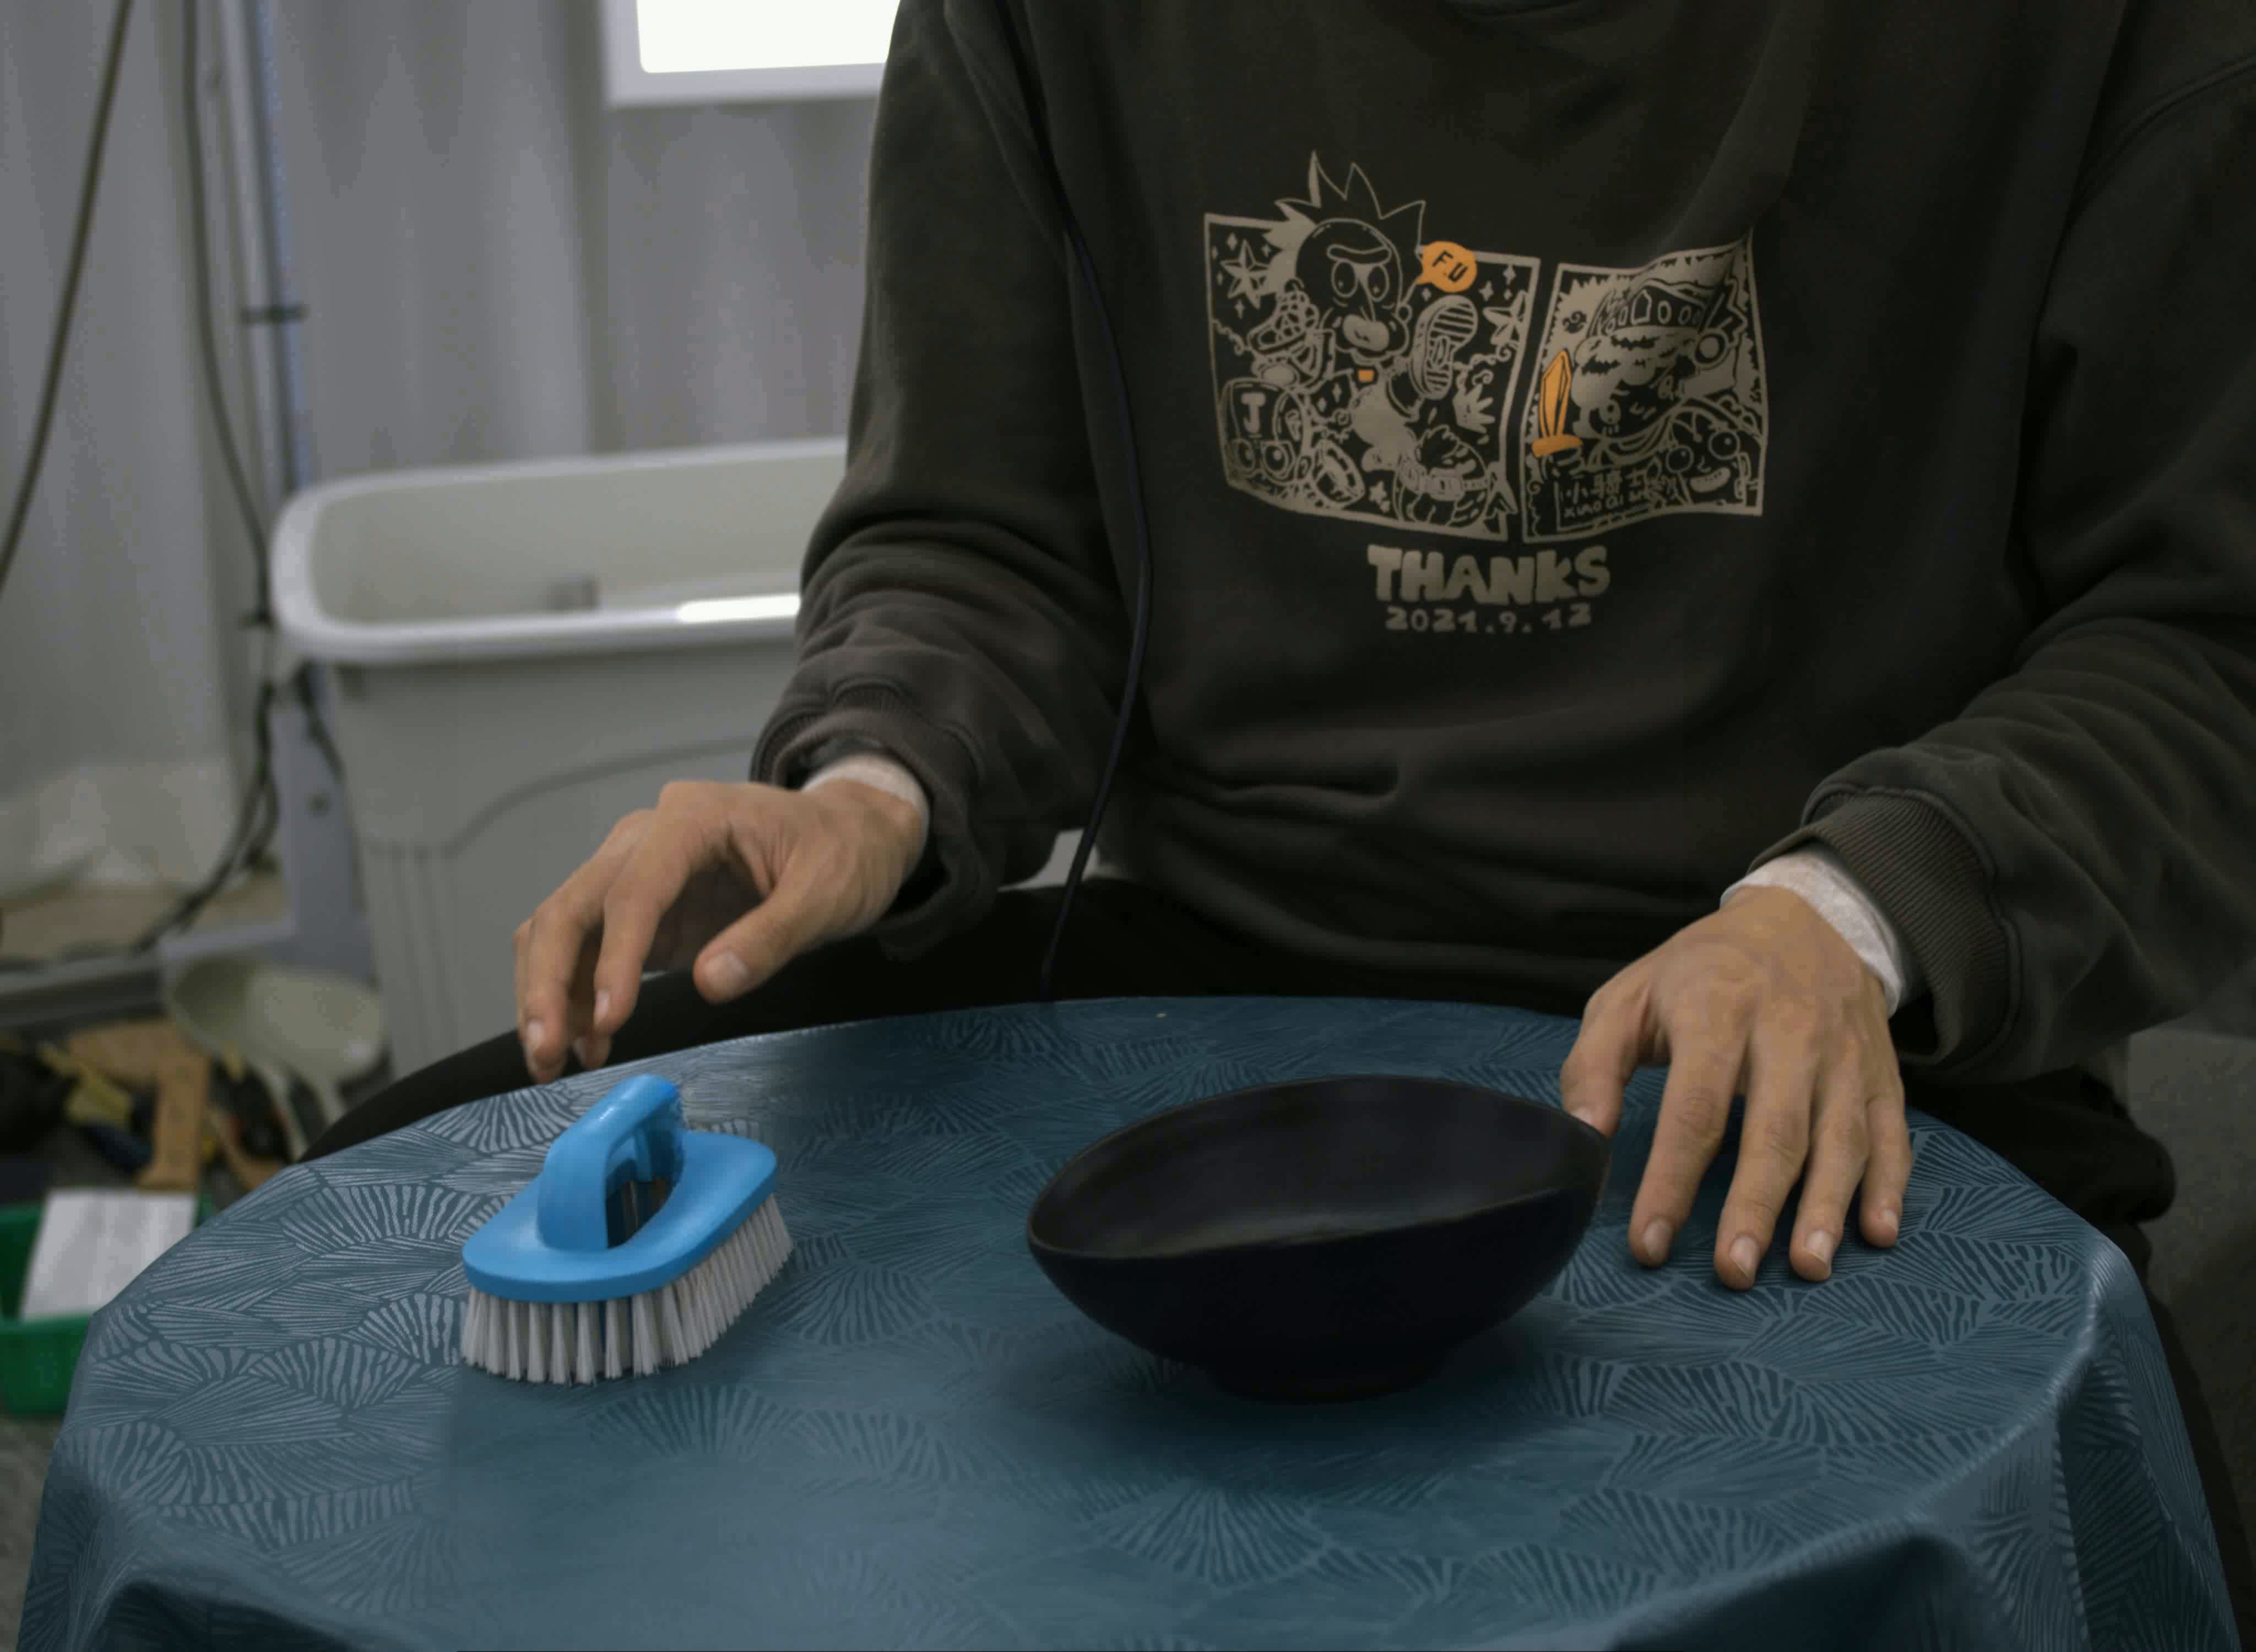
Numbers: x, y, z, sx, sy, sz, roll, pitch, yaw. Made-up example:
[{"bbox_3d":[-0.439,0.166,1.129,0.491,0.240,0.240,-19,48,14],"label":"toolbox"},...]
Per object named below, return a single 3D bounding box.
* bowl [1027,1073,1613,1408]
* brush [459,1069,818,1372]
[{"bbox_3d":[0.057,0.124,1.557,0.169,0.066,0.138,-9,15,-14],"label":"bowl"},{"bbox_3d":[-0.148,0.112,1.637,0.084,0.063,0.142,-3,13,18],"label":"brush"}]
